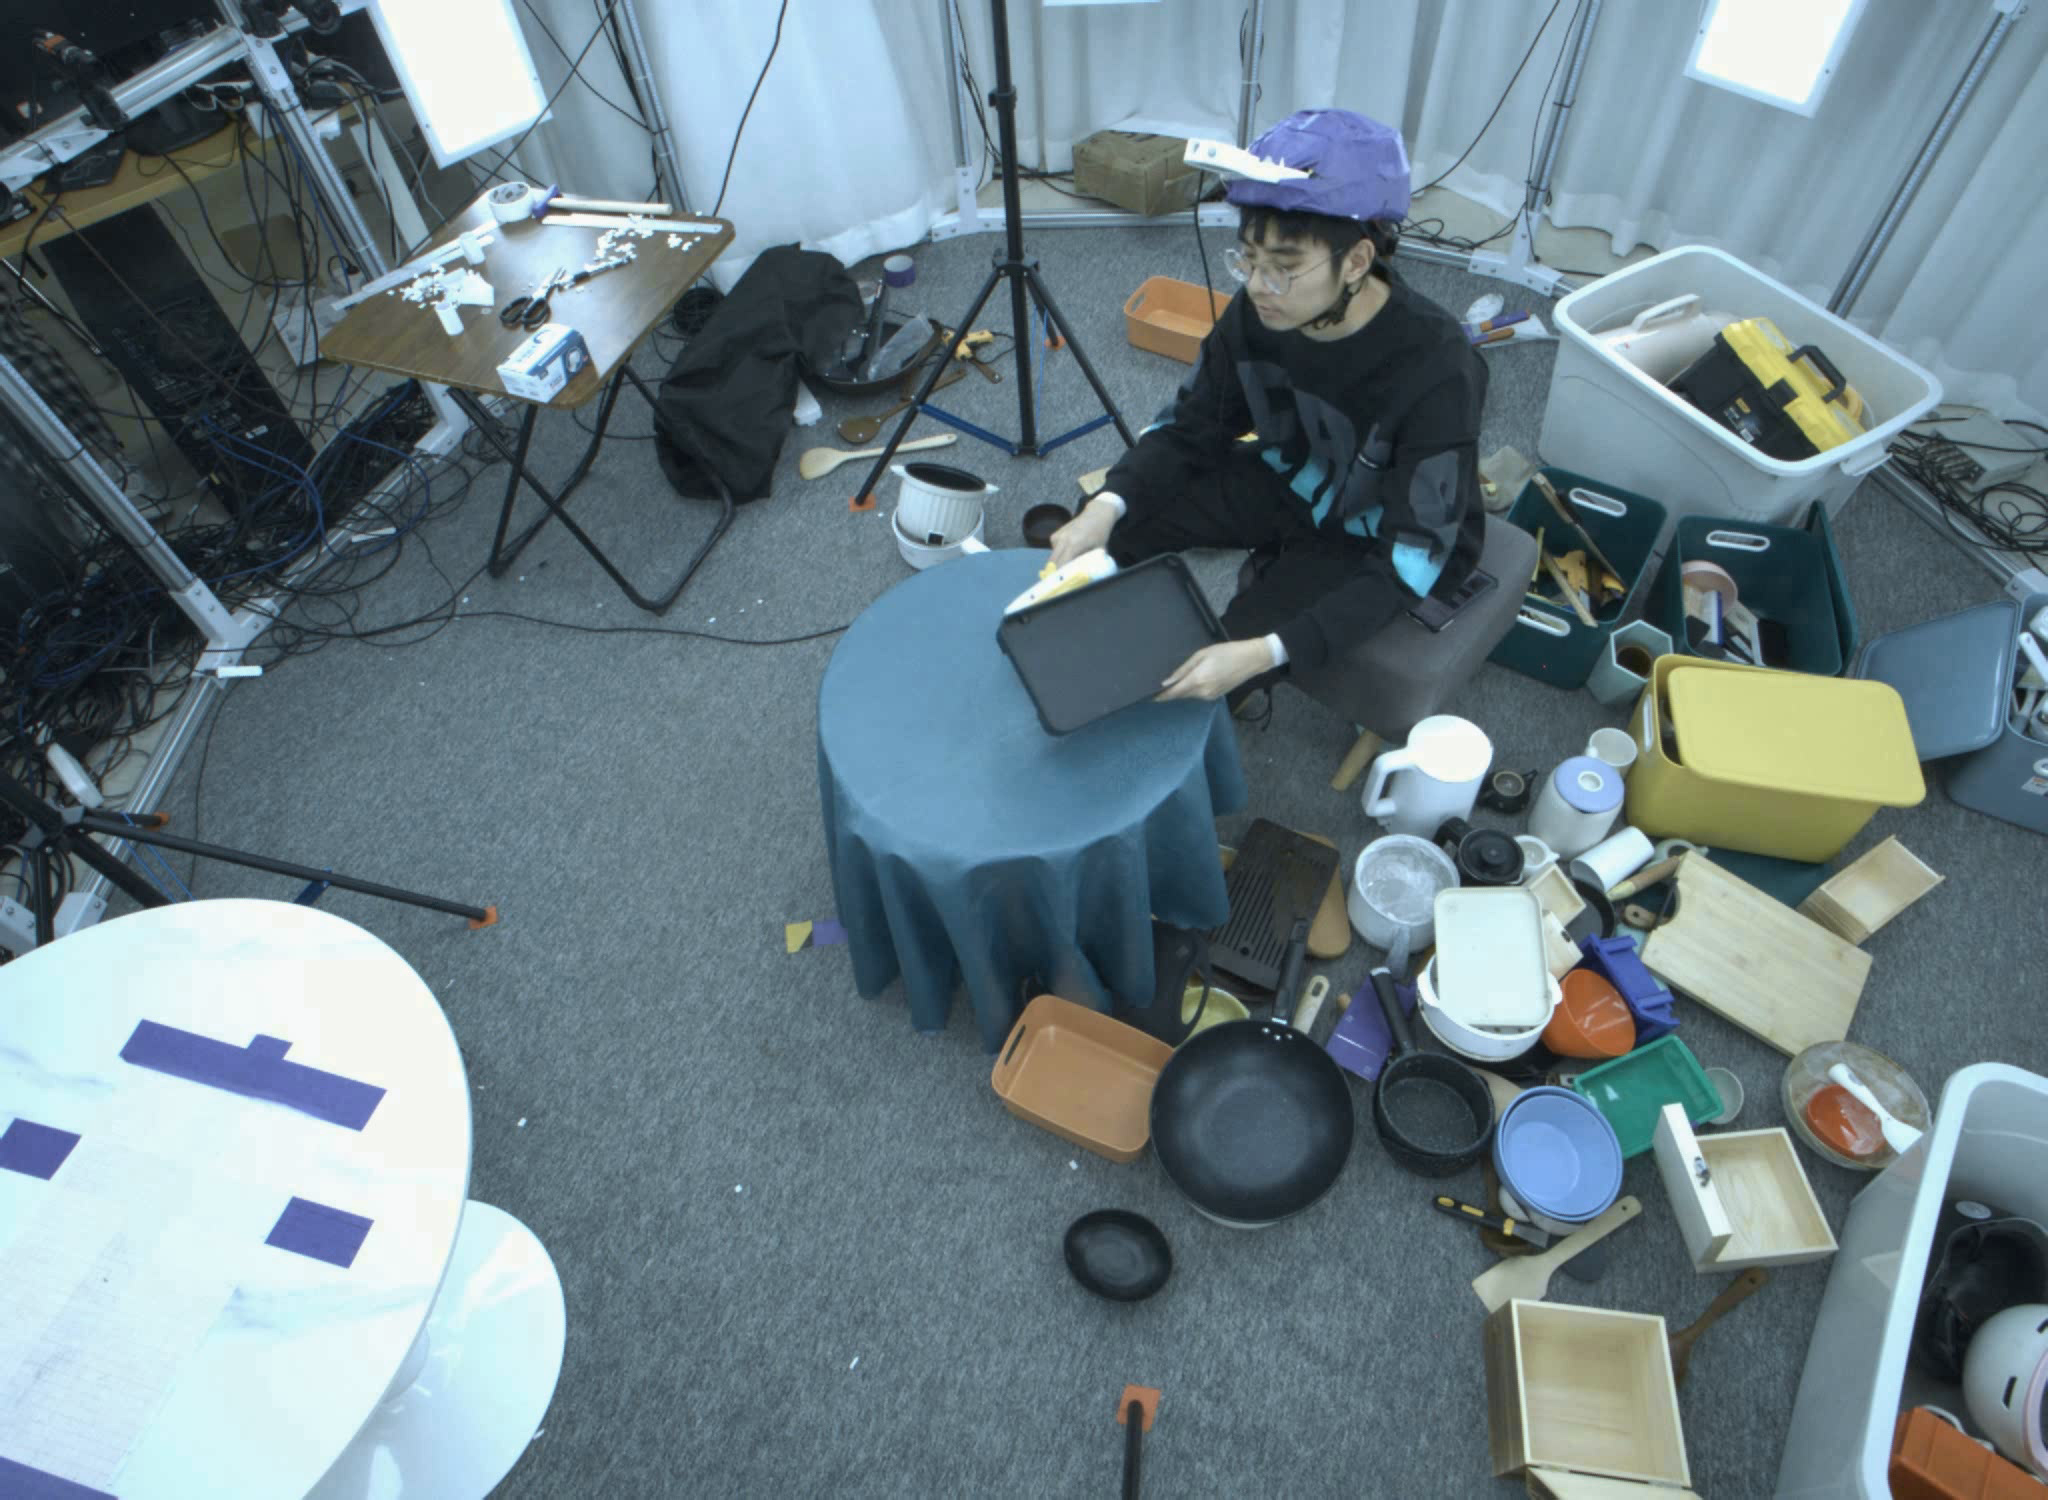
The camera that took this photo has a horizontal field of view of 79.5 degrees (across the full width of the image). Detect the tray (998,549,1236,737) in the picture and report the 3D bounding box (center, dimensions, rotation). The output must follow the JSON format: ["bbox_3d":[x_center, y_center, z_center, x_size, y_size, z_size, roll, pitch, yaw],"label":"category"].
[{"bbox_3d":[0.133,-0.155,1.732,0.321,0.037,0.183,-25,83,-24],"label":"tray"}]

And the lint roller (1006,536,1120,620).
[{"bbox_3d":[0.065,-0.269,1.851,0.075,0.191,0.193,49,30,-9],"label":"lint roller"}]
